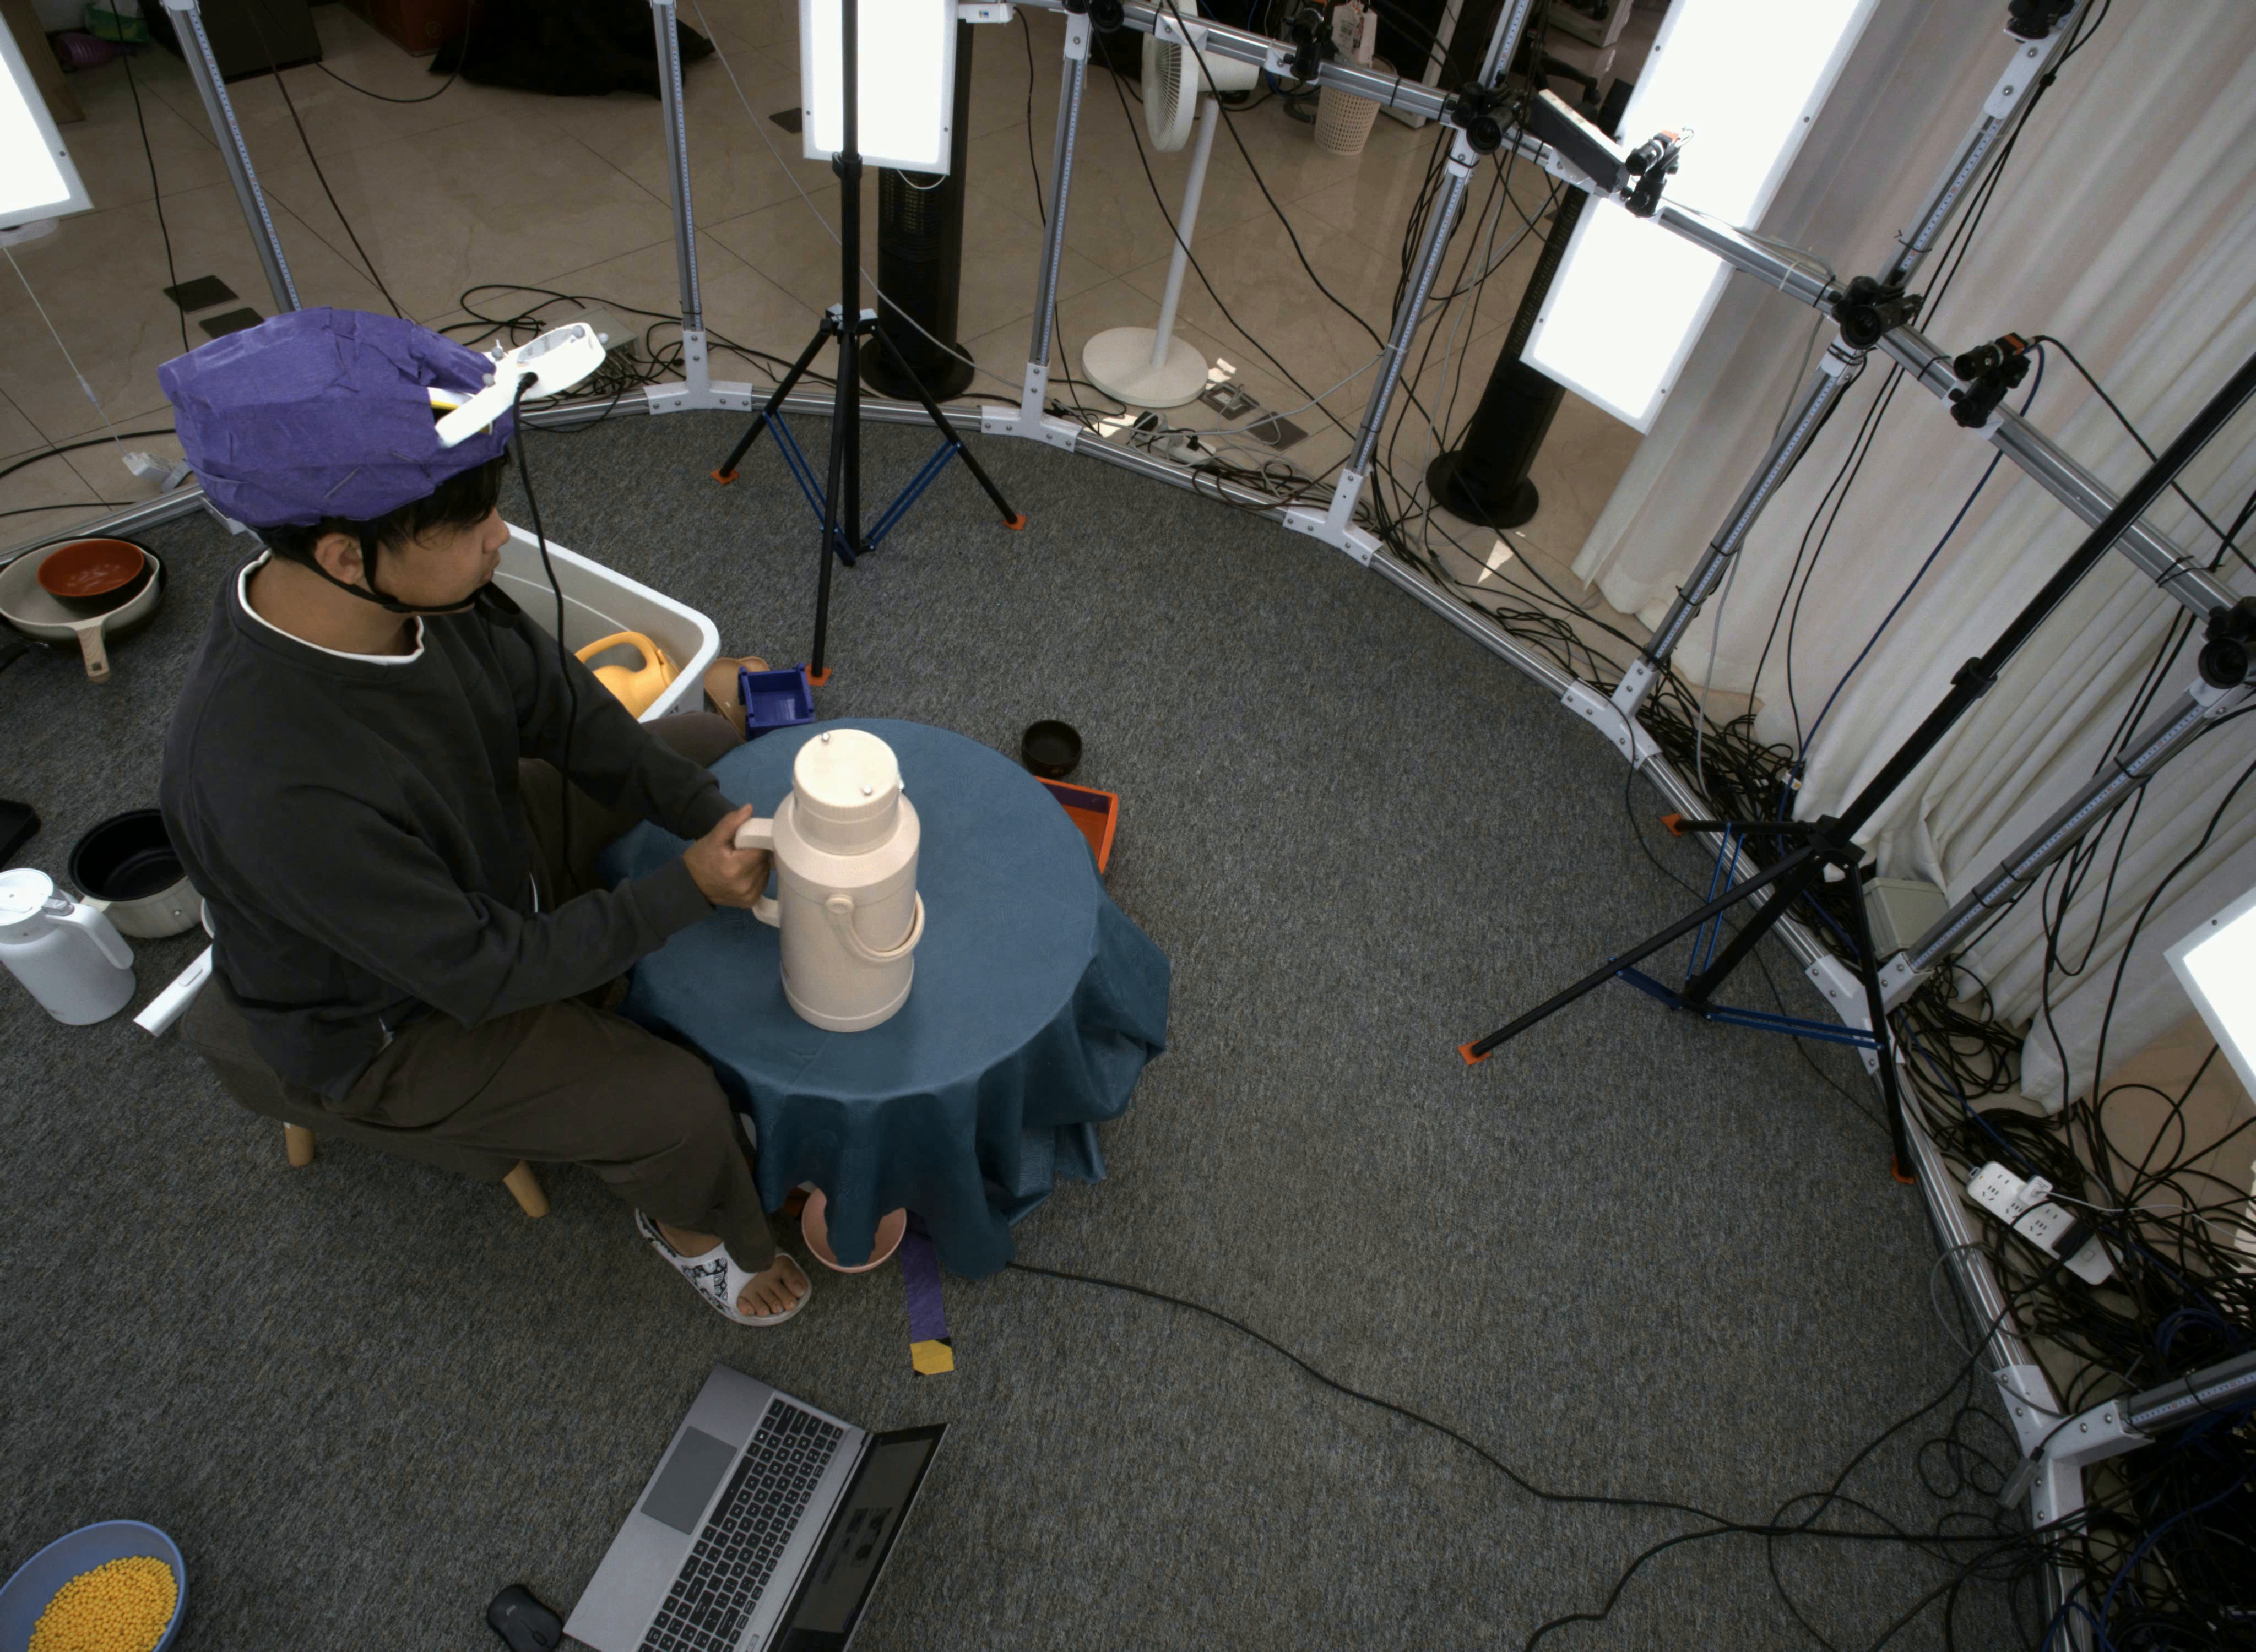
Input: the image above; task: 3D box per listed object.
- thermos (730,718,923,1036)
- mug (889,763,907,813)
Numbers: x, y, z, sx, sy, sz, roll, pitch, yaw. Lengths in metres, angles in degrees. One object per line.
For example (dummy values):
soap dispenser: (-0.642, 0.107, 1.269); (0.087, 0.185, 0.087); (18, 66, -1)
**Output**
thermos: (-0.330, 0.058, 1.443); (0.207, 0.415, 0.172); (3, 51, -9)
mug: (-0.342, -0.042, 1.714); (0.094, 0.092, 0.120); (-13, 57, -21)
